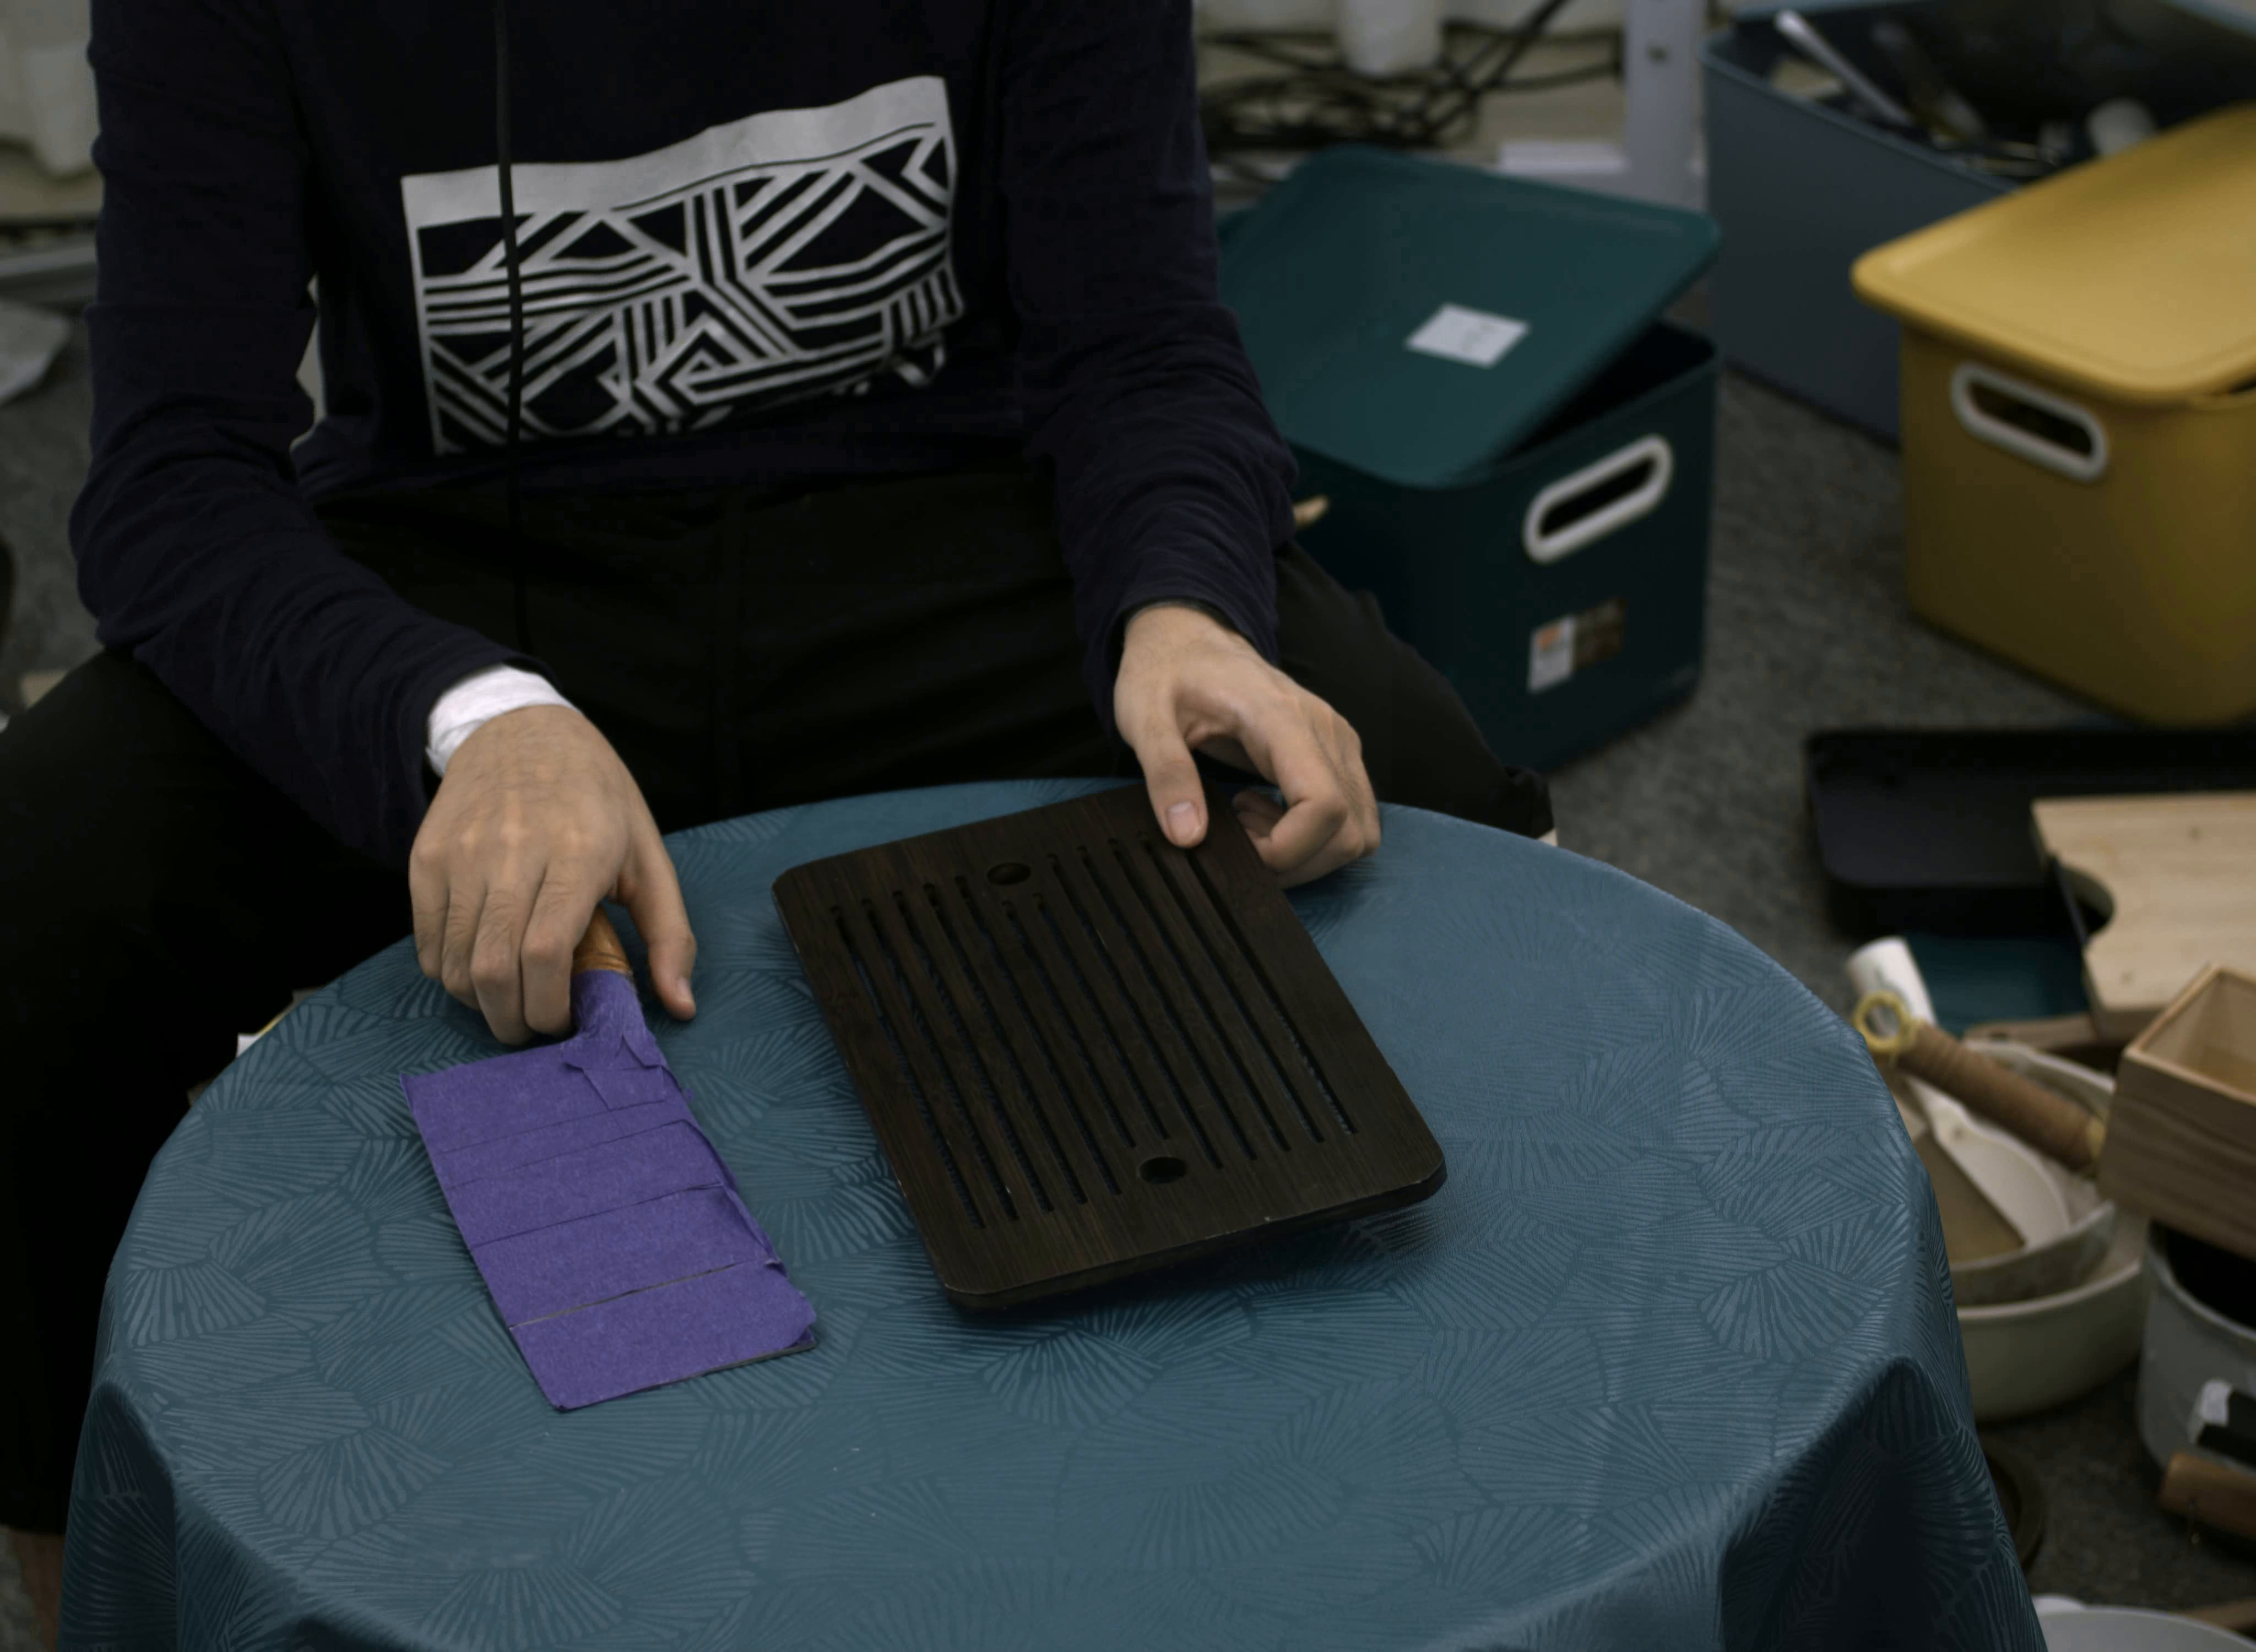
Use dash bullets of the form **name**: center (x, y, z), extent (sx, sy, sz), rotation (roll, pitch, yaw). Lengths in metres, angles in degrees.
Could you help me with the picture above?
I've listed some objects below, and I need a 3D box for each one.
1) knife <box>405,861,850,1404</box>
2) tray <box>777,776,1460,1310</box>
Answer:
- **knife**: center (-0.190, 0.099, 1.894), extent (0.104, 0.032, 0.318), rotation (-12, 29, -17)
- **tray**: center (-0.010, 0.071, 1.929), extent (0.170, 0.018, 0.309), rotation (-13, 29, -10)
